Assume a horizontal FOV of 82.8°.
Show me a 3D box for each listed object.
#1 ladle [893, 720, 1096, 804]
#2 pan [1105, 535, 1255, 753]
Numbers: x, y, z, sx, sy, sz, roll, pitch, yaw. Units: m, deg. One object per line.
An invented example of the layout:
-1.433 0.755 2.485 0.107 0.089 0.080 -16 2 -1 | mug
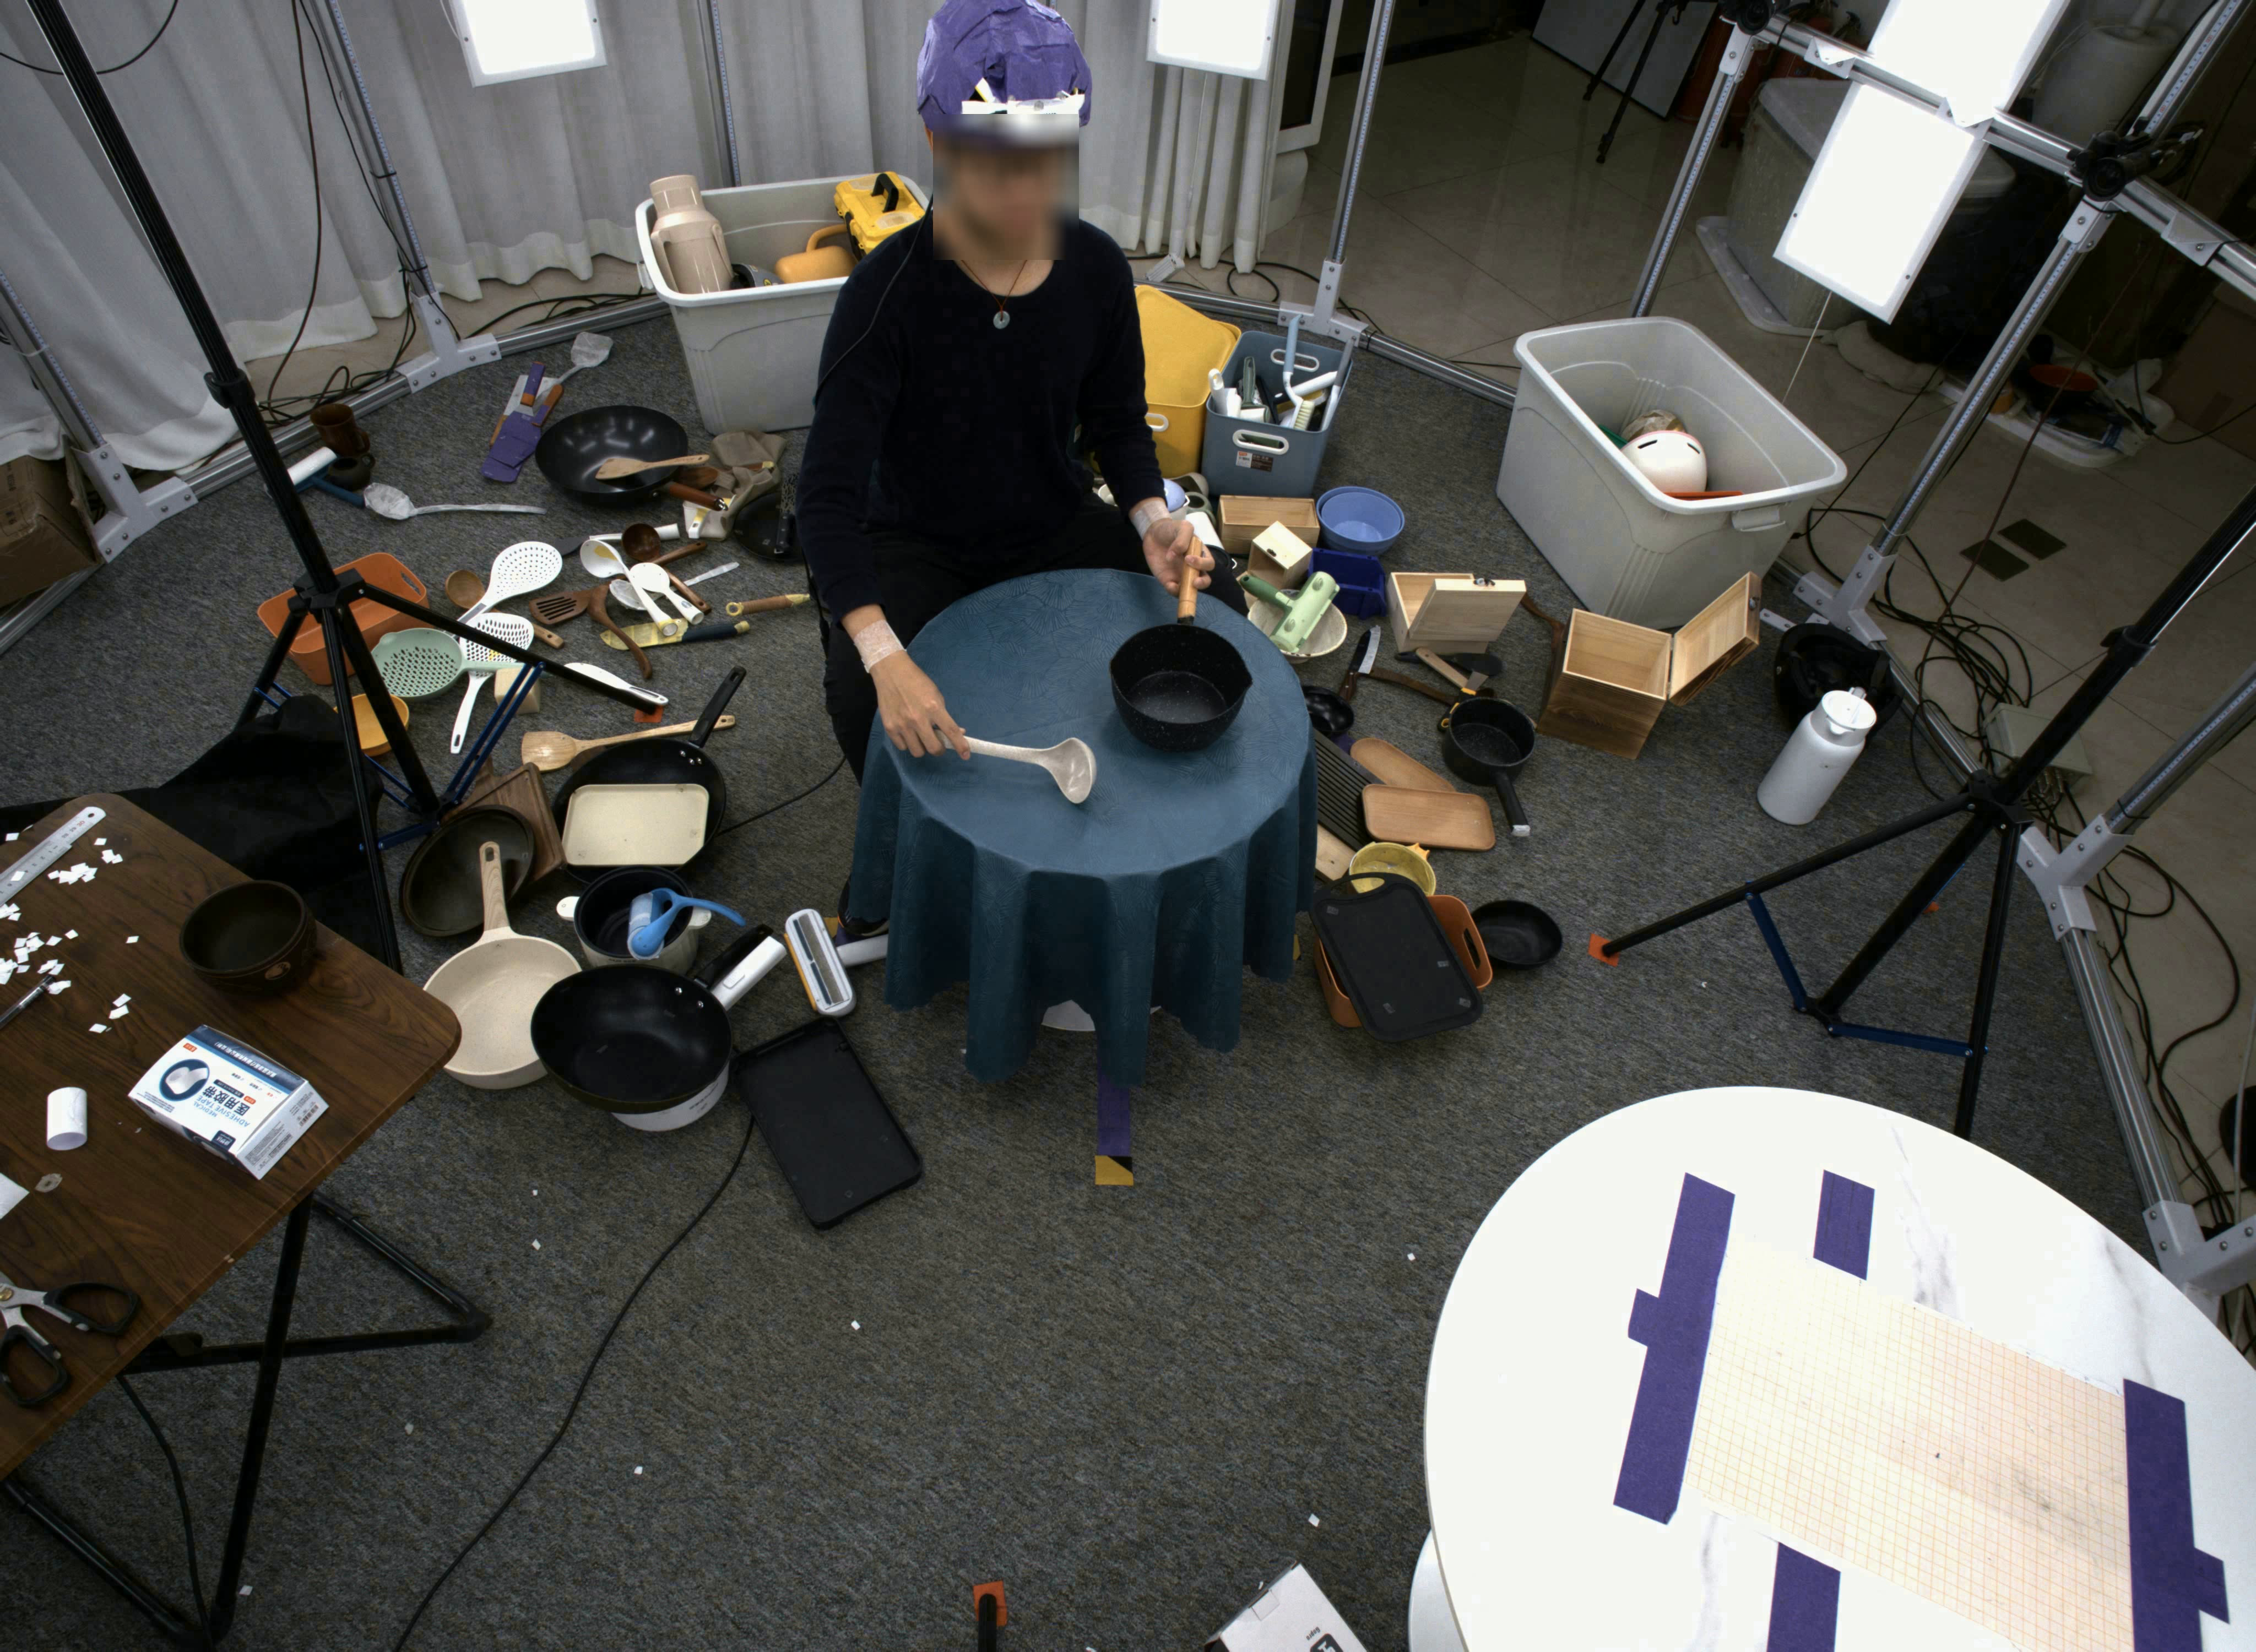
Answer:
-0.177 -0.091 1.671 0.274 0.087 0.071 10 35 -1 | ladle
0.076 -0.257 1.814 0.207 0.105 0.351 5 54 2 | pan
